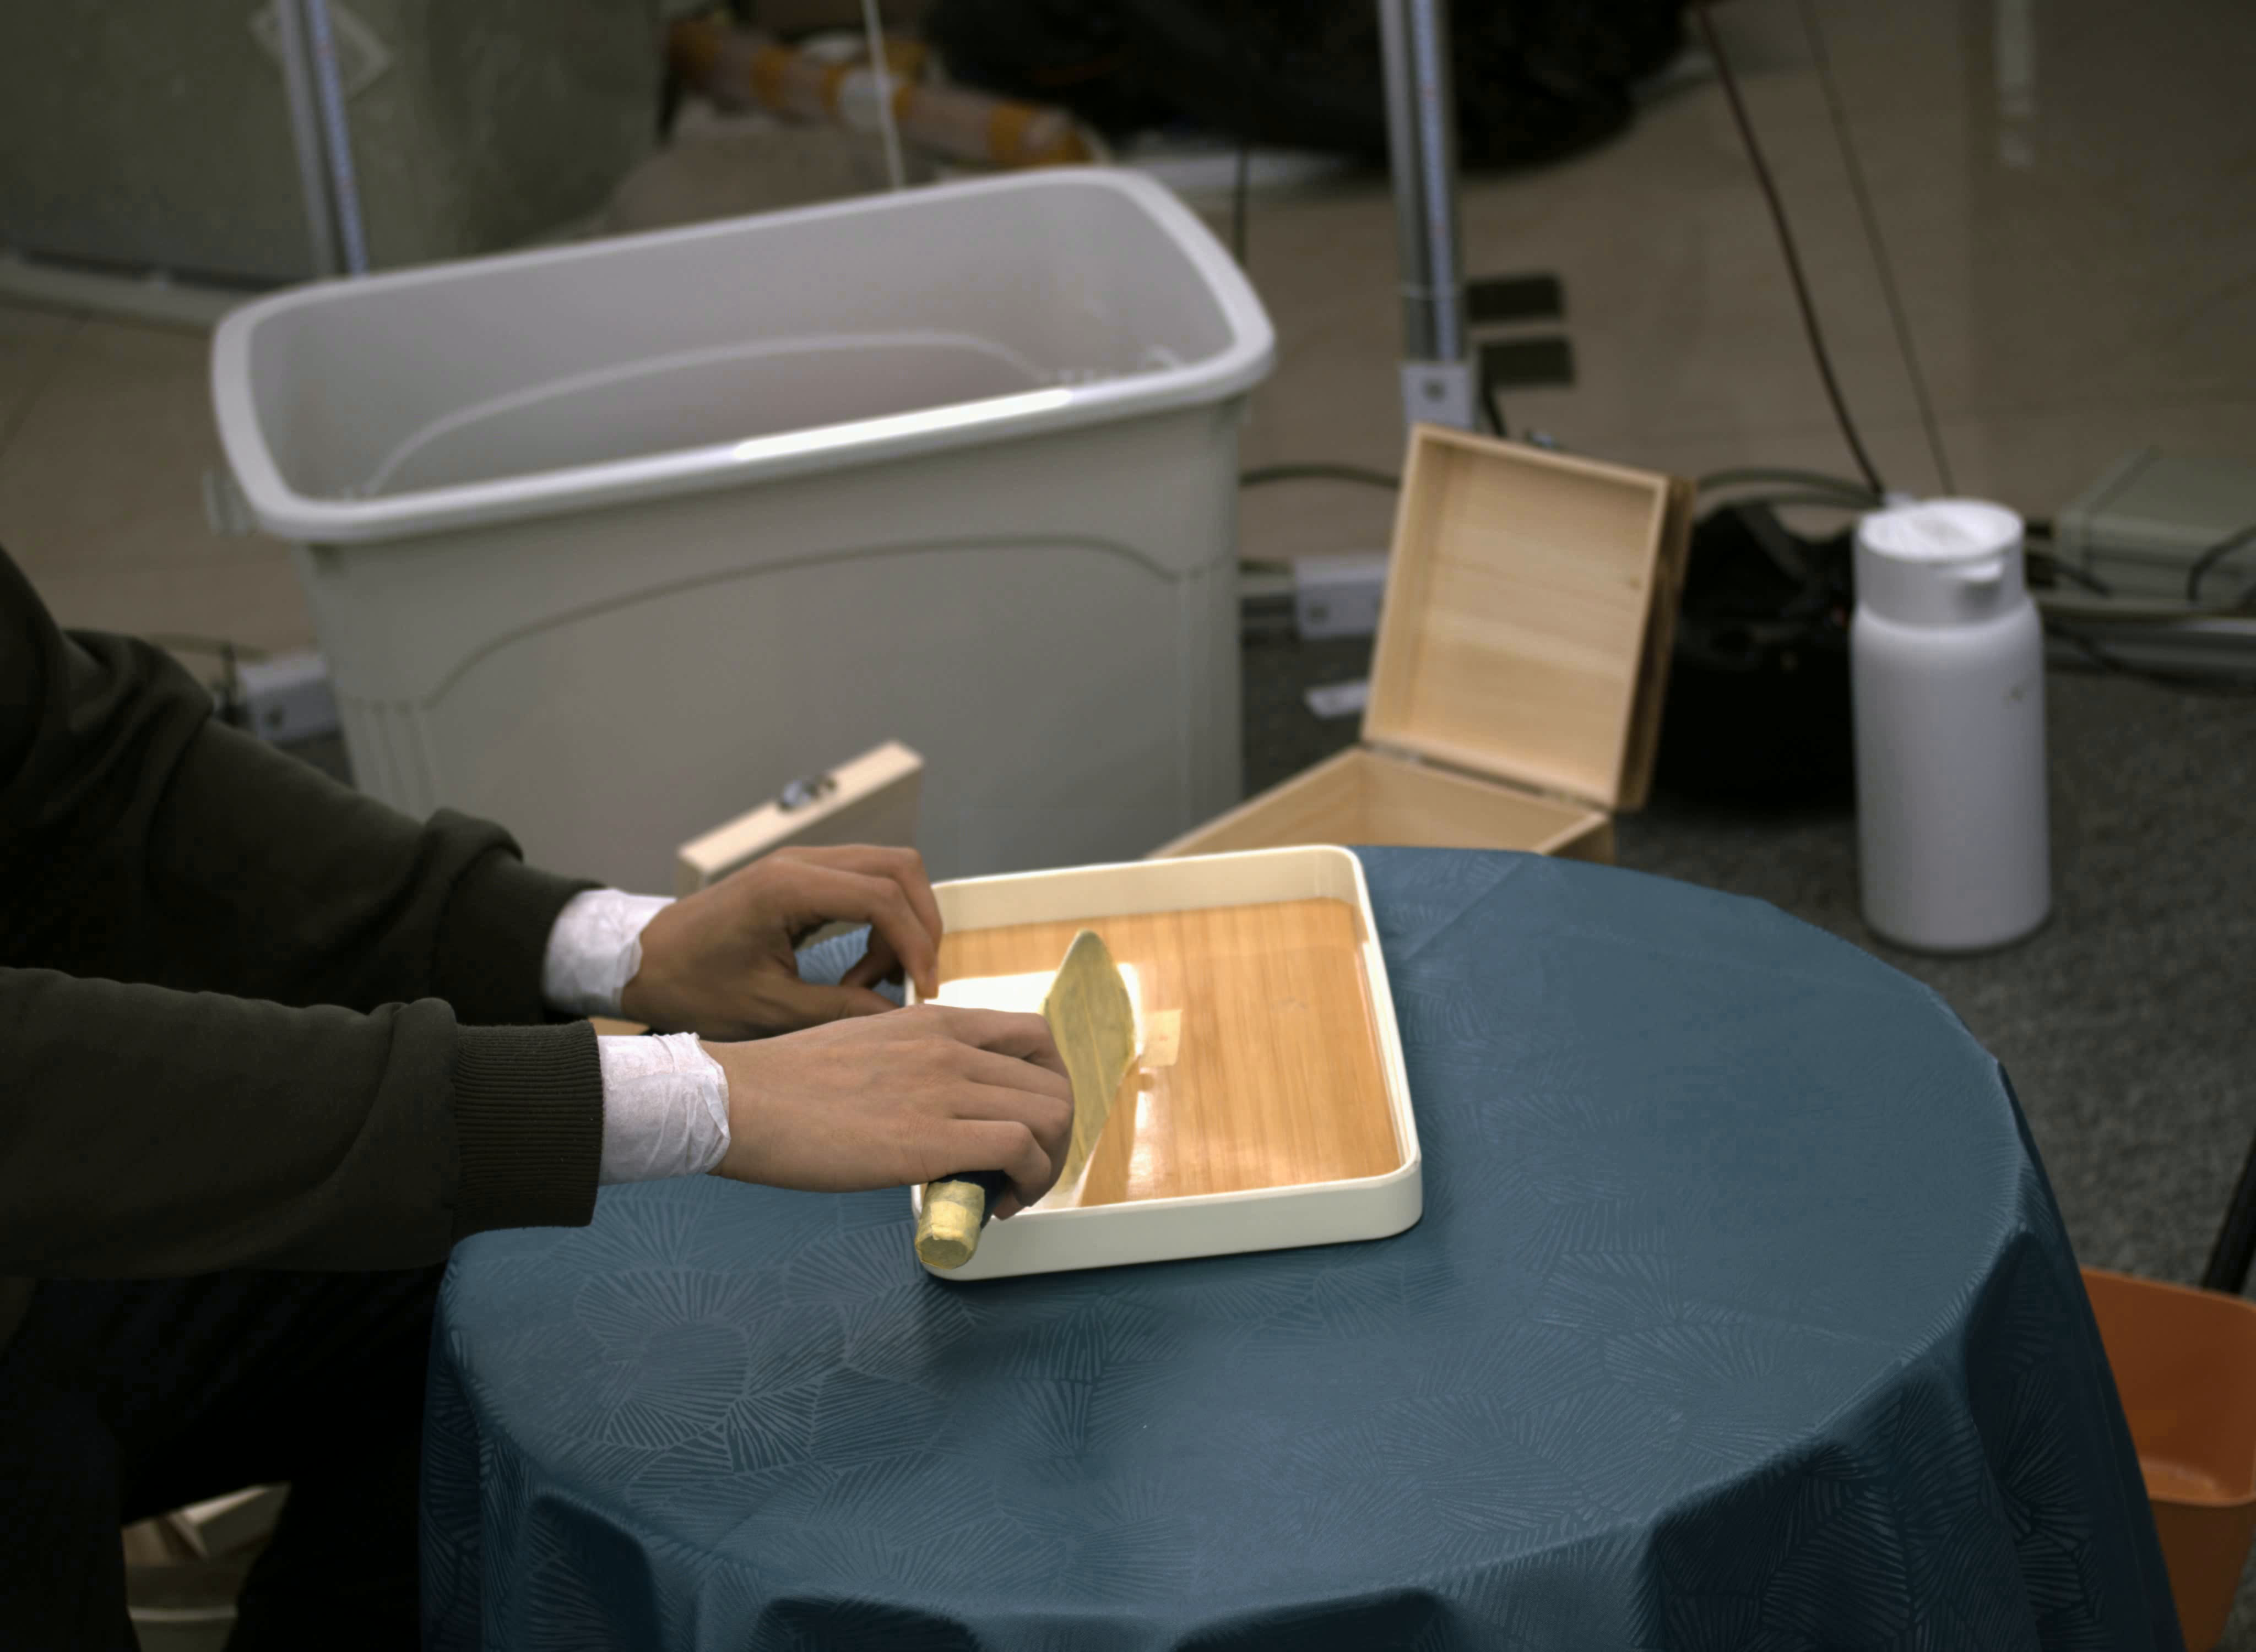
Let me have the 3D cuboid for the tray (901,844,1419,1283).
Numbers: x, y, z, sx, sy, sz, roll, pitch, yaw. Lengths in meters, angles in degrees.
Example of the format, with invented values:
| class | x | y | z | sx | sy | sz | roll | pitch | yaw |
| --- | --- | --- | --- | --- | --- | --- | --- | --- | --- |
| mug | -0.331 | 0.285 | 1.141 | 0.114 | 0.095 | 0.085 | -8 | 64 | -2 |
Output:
| class | x | y | z | sx | sy | sz | roll | pitch | yaw |
| --- | --- | --- | --- | --- | --- | --- | --- | --- | --- |
| tray | 0.008 | 0.089 | 2.223 | 0.191 | 0.028 | 0.296 | -7 | 25 | 0 |

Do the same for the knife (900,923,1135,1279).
| class | x | y | z | sx | sy | sz | roll | pitch | yaw |
| --- | --- | --- | --- | --- | --- | --- | --- | --- | --- |
| knife | -0.033 | 0.109 | 2.104 | 0.027 | 0.082 | 0.286 | -8 | 18 | 18 |
